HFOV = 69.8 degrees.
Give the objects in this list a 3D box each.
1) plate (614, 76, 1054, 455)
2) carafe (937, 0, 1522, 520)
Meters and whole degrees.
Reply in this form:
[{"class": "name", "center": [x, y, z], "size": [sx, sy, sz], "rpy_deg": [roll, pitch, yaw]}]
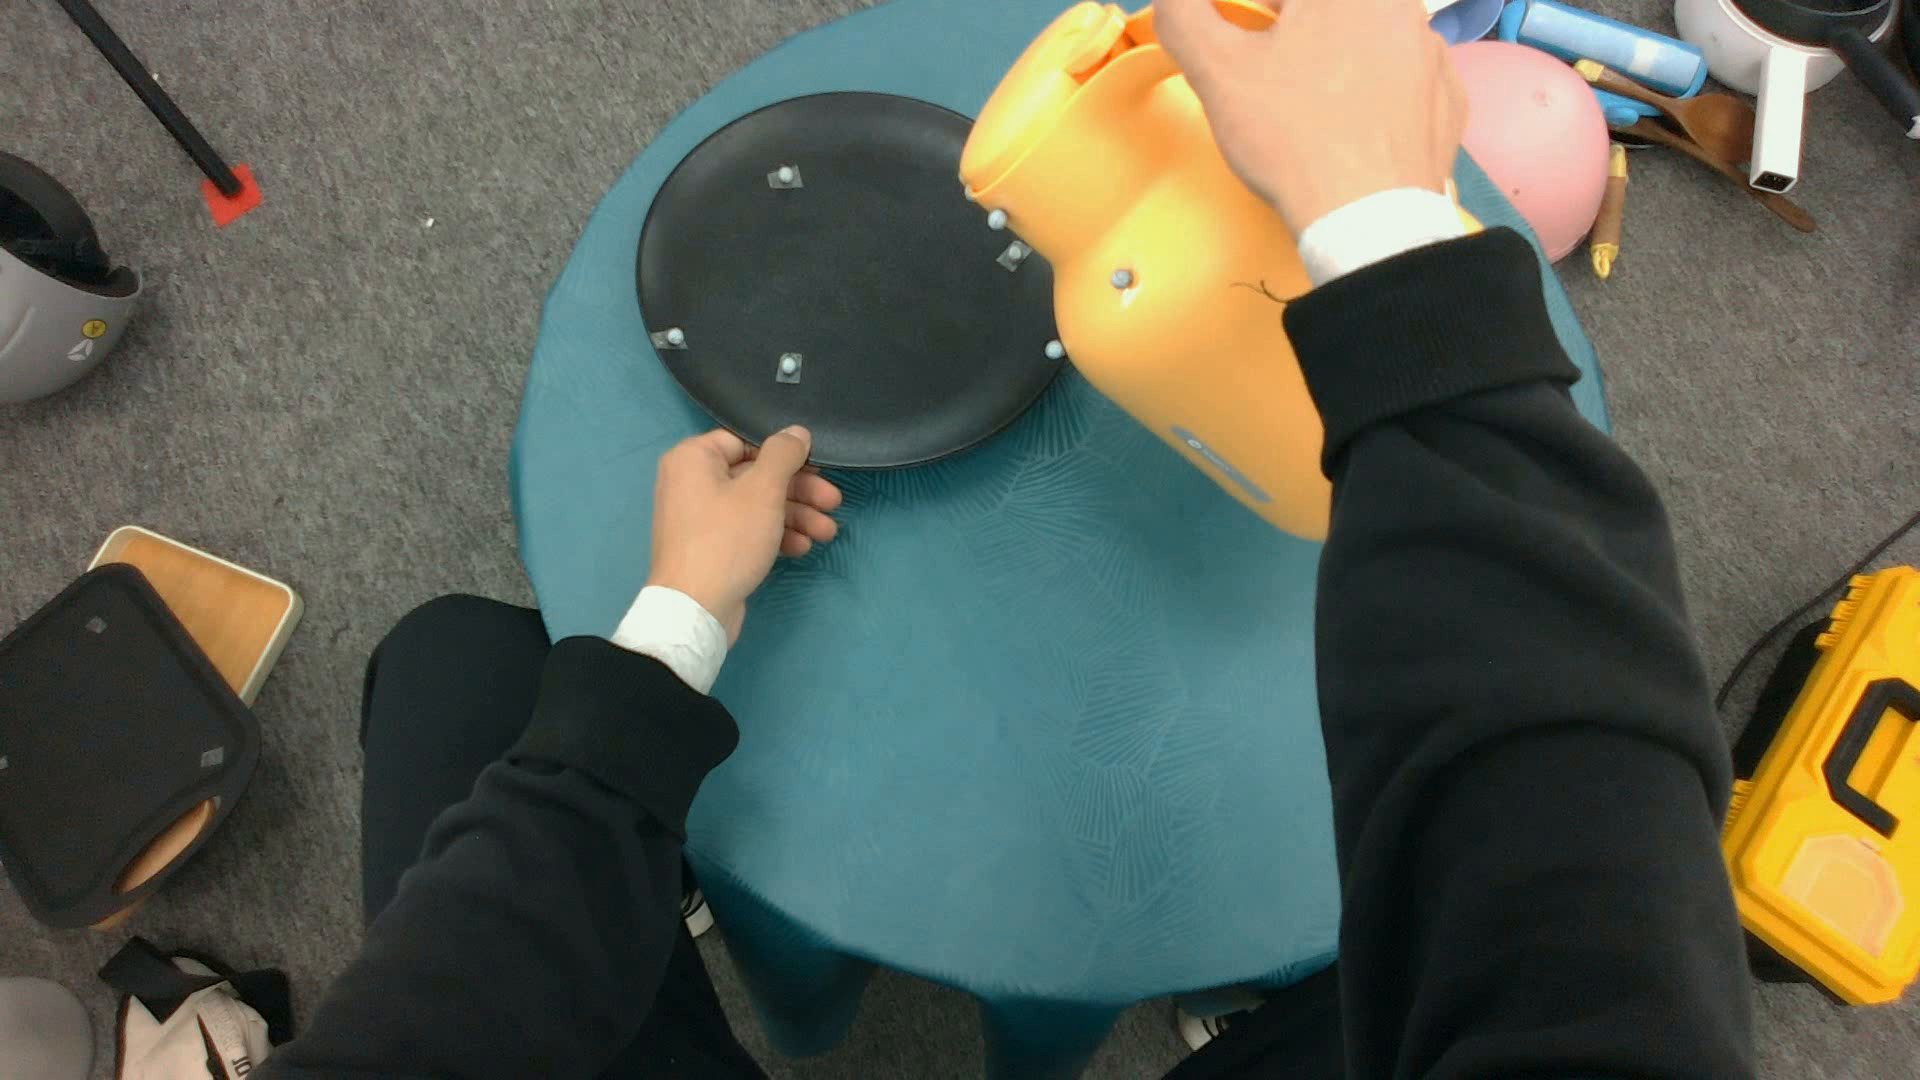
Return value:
[{"class": "plate", "center": [-0.065, -0.152, 0.756], "size": [0.244, 0.023, 0.245], "rpy_deg": [2, 67, -5]}, {"class": "carafe", "center": [0.121, -0.132, 0.604], "size": [0.260, 0.202, 0.164], "rpy_deg": [32, 76, -18]}]
